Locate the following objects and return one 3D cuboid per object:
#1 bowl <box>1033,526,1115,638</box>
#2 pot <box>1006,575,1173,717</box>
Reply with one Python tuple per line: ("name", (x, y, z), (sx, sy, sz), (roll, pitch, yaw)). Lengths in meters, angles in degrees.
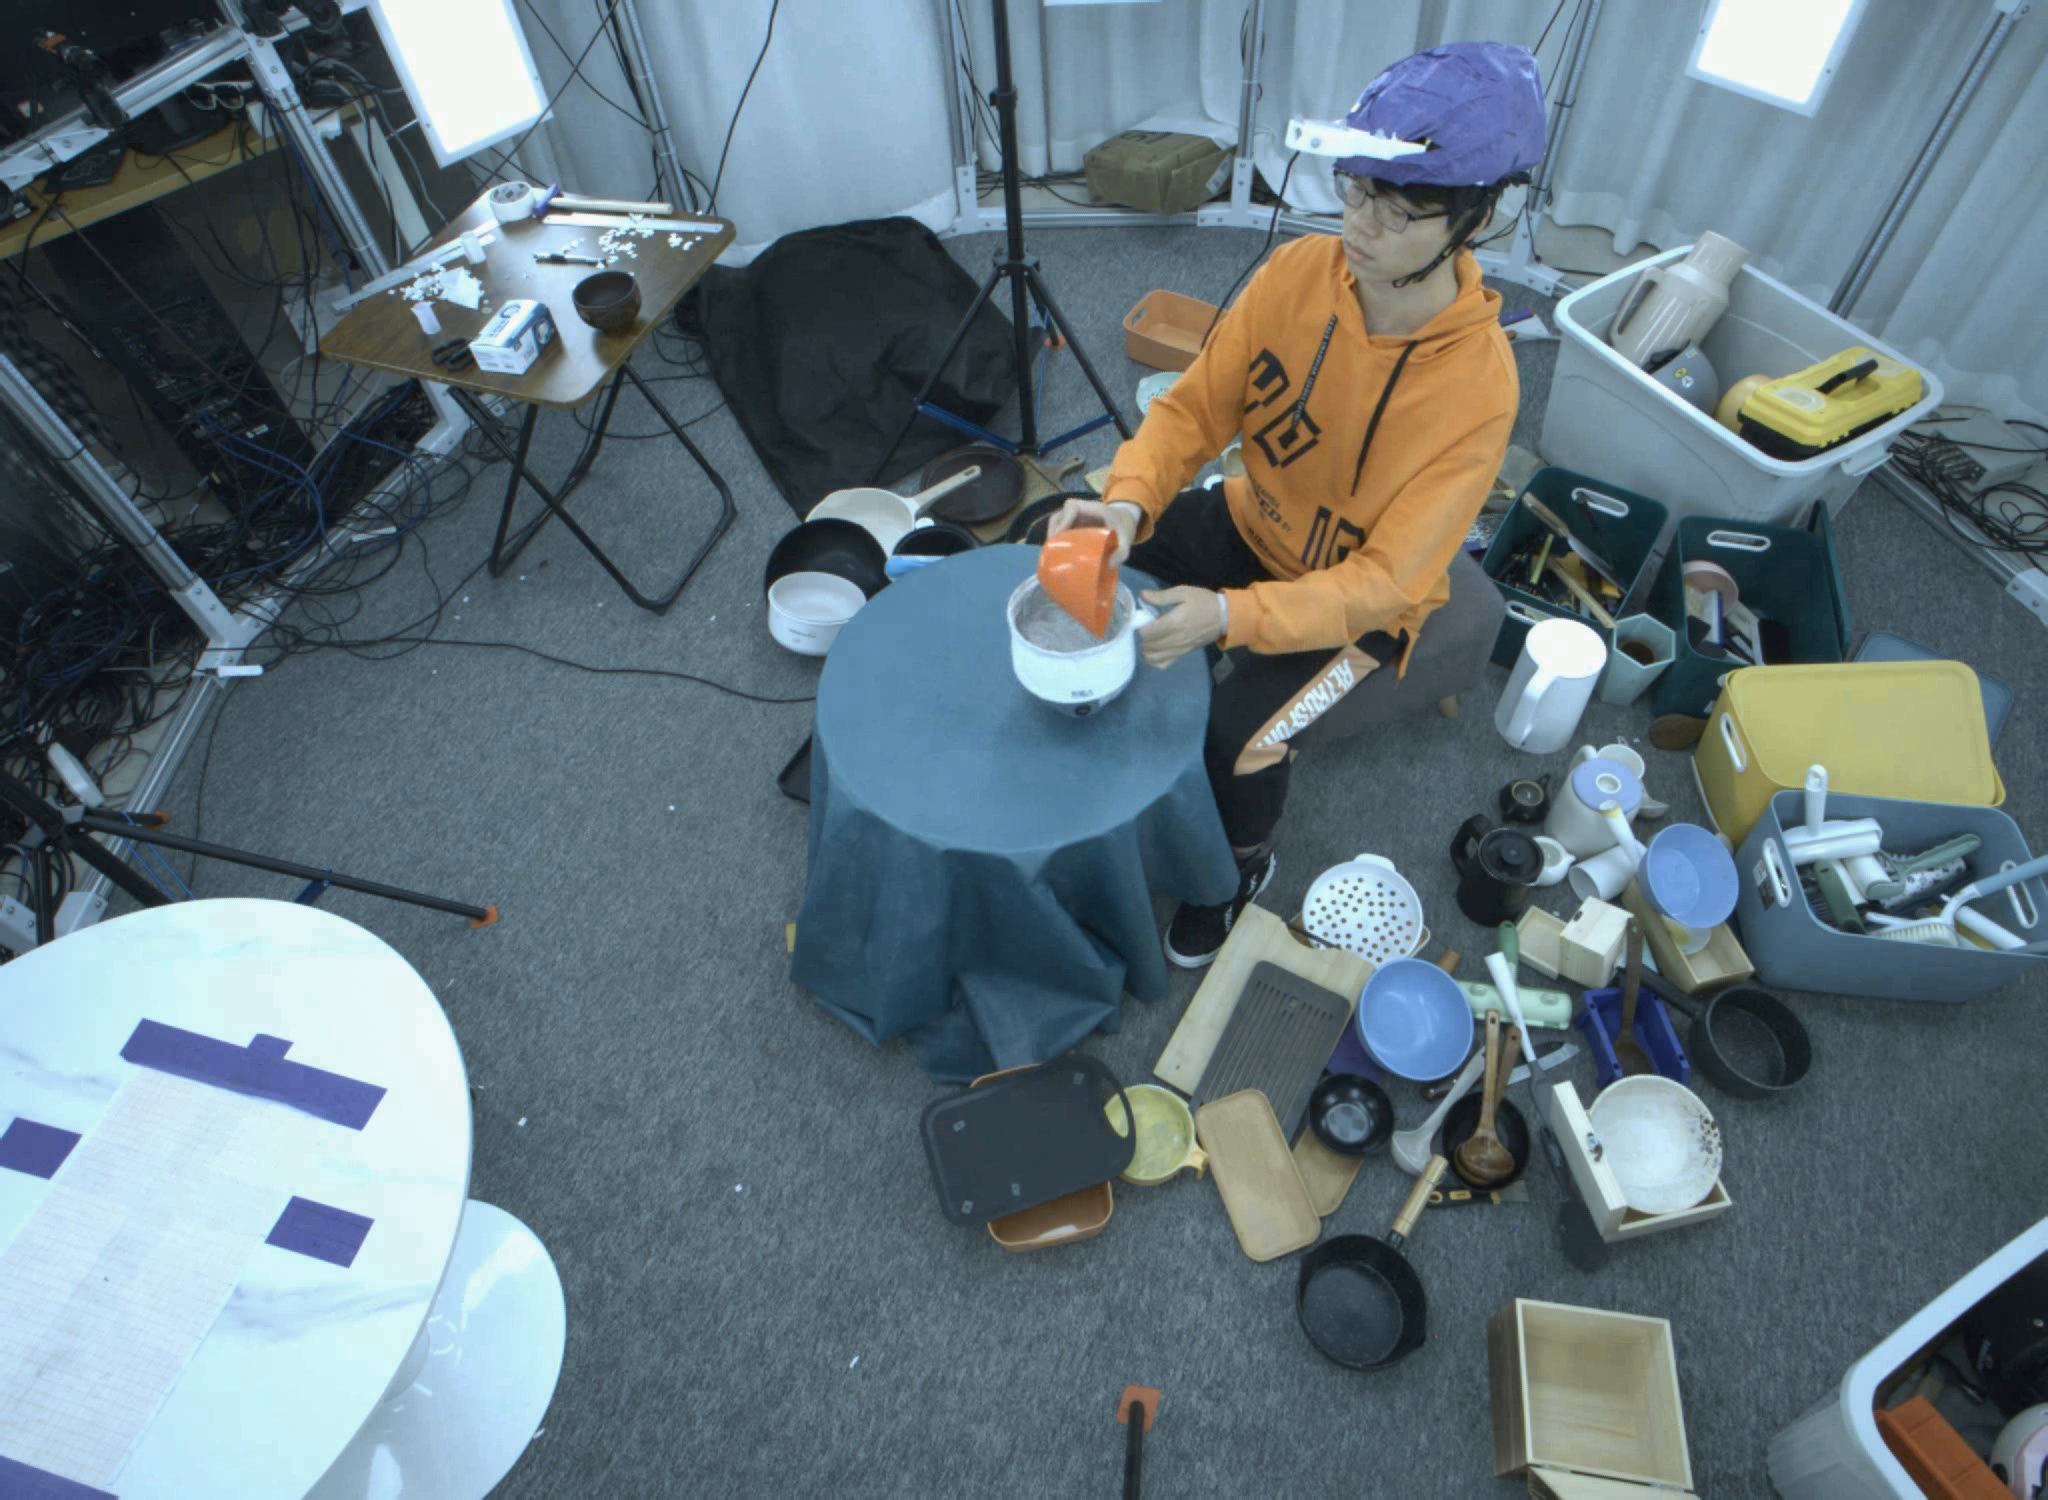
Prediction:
("bowl", (0.067, -0.235, 1.646), (0.103, 0.149, 0.148), (17, 58, 14))
("pot", (0.096, -0.158, 1.745), (0.234, 0.138, 0.176), (-9, 52, -3))
